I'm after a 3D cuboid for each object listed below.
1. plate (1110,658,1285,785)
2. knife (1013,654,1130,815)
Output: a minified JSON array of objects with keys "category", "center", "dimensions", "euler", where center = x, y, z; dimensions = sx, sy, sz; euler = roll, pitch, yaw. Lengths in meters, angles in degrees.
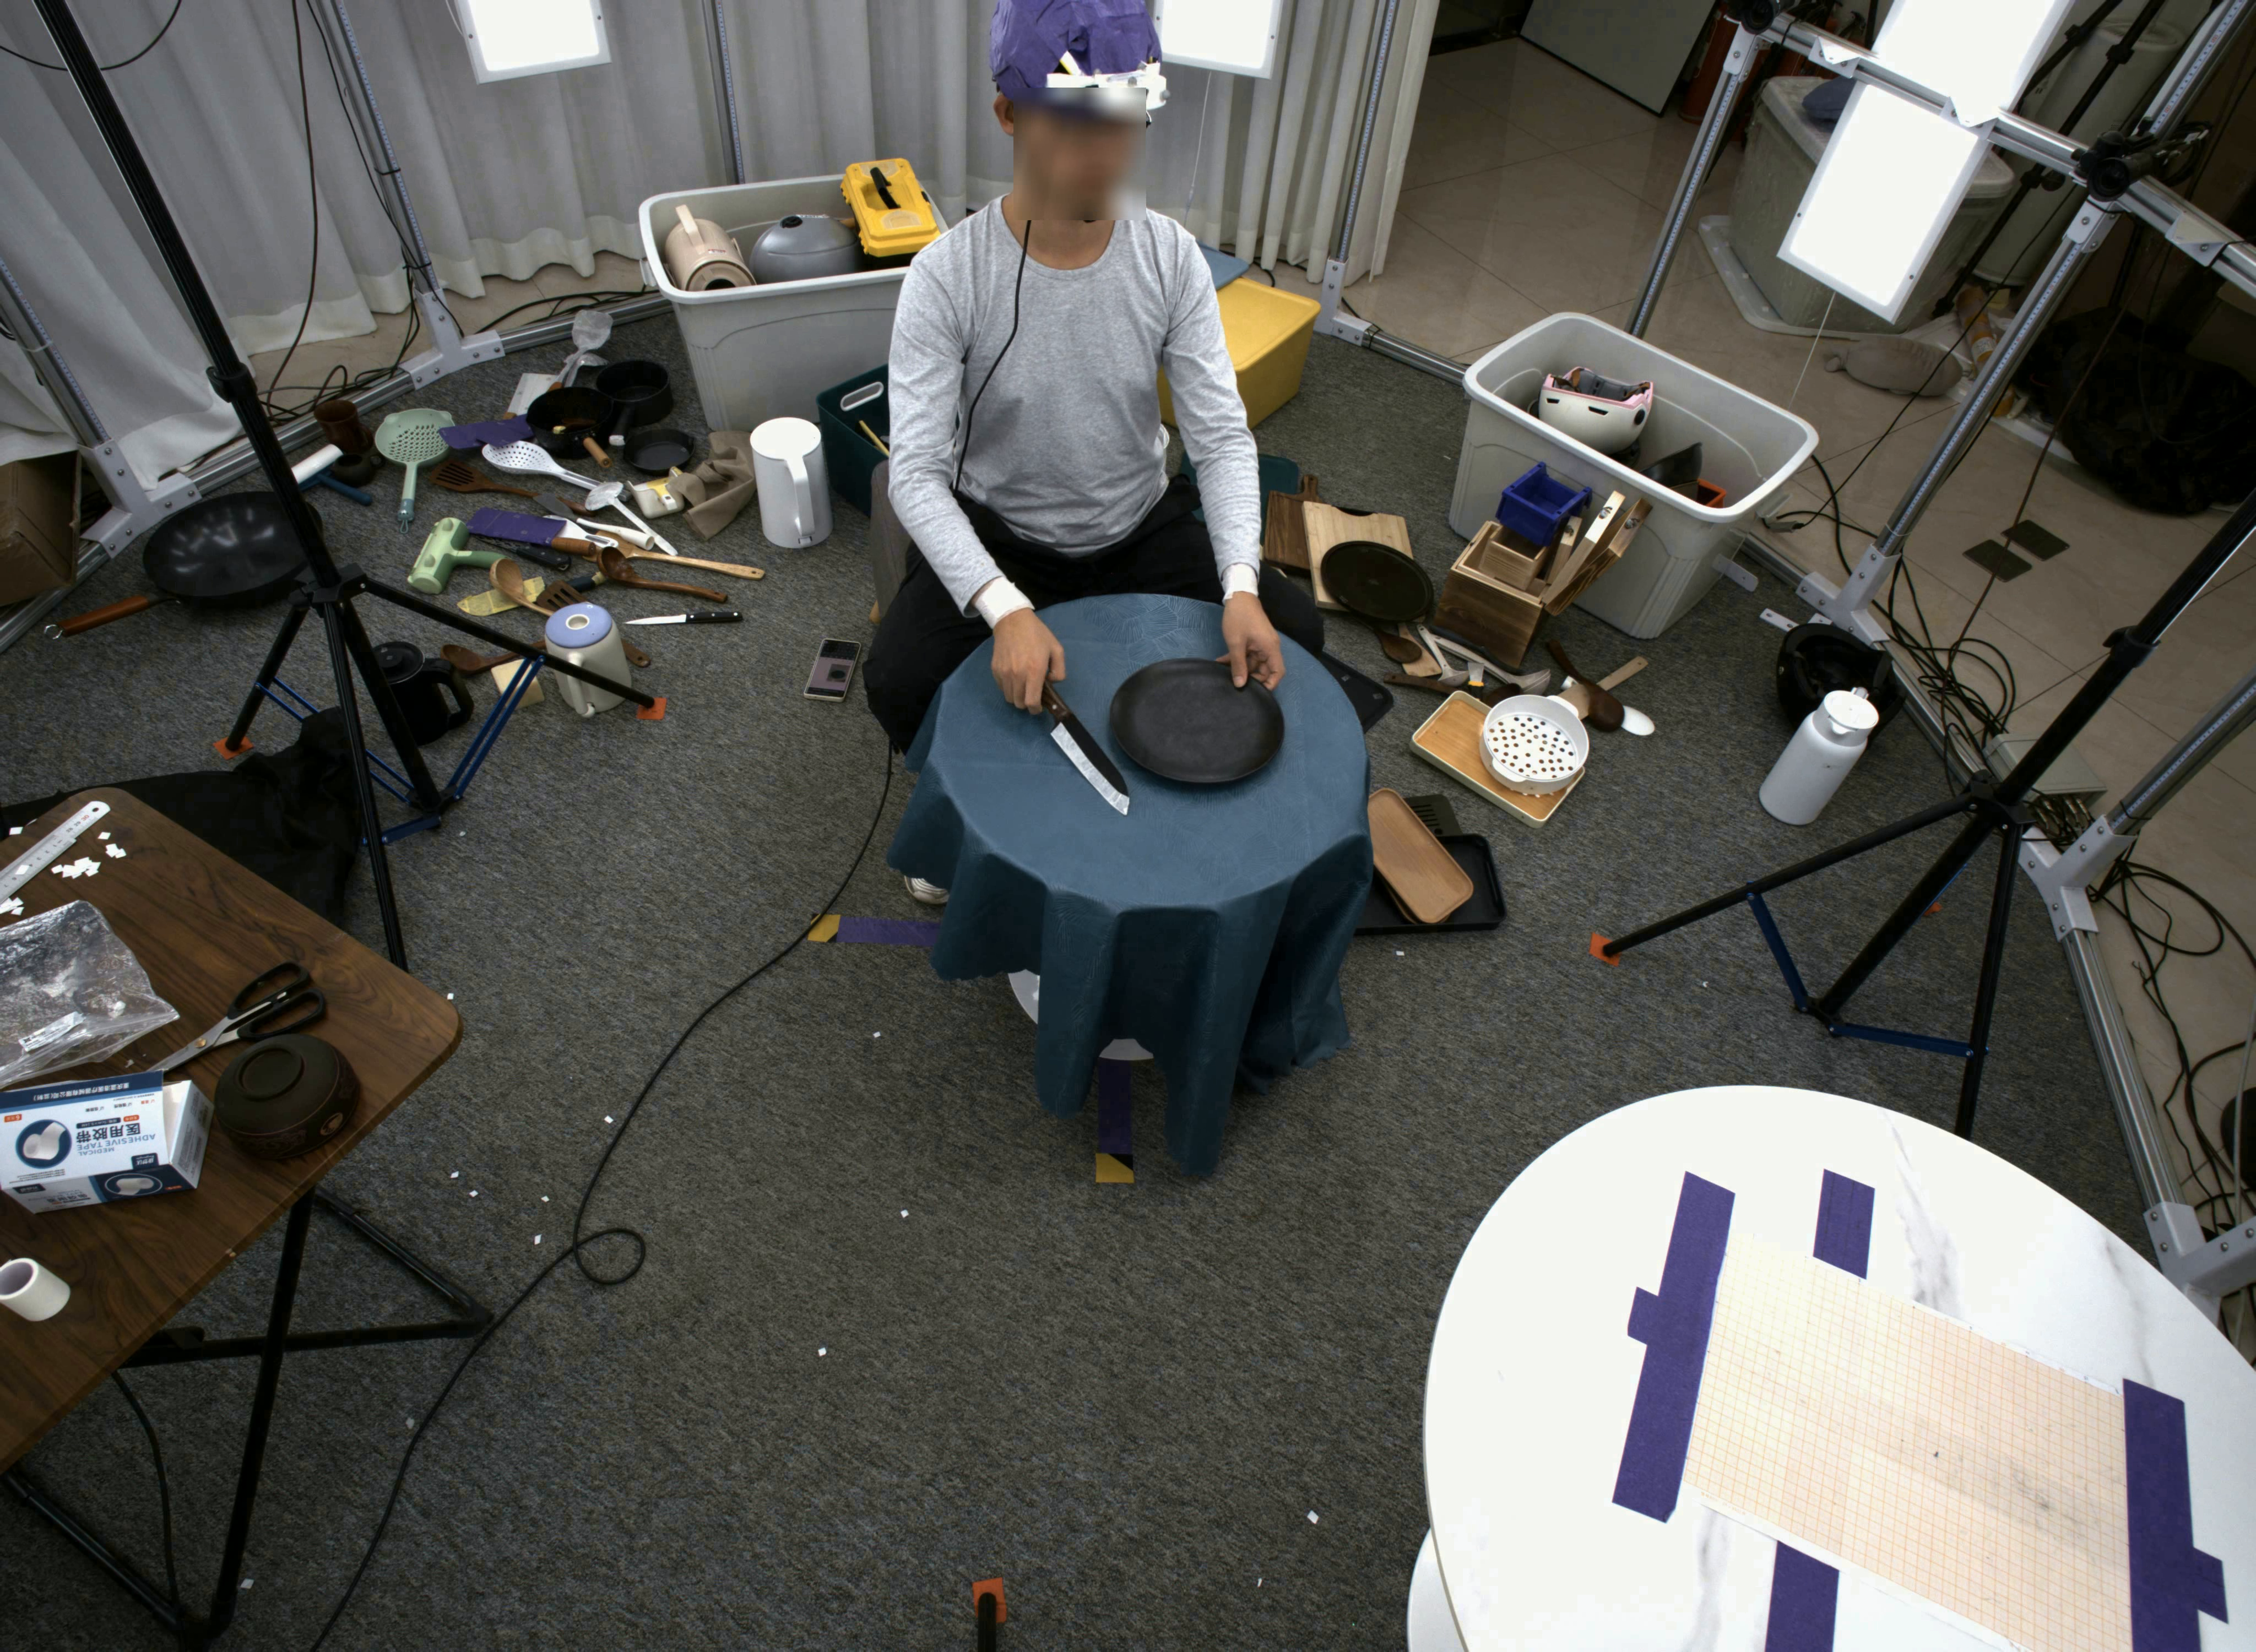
[{"category":"plate","center":[0.096,-0.144,1.784],"dimensions":[0.244,0.023,0.250],"euler":[2,49,-2]},{"category":"knife","center":[-0.076,-0.126,1.736],"dimensions":[0.294,0.050,0.020],"euler":[55,21,24]}]
